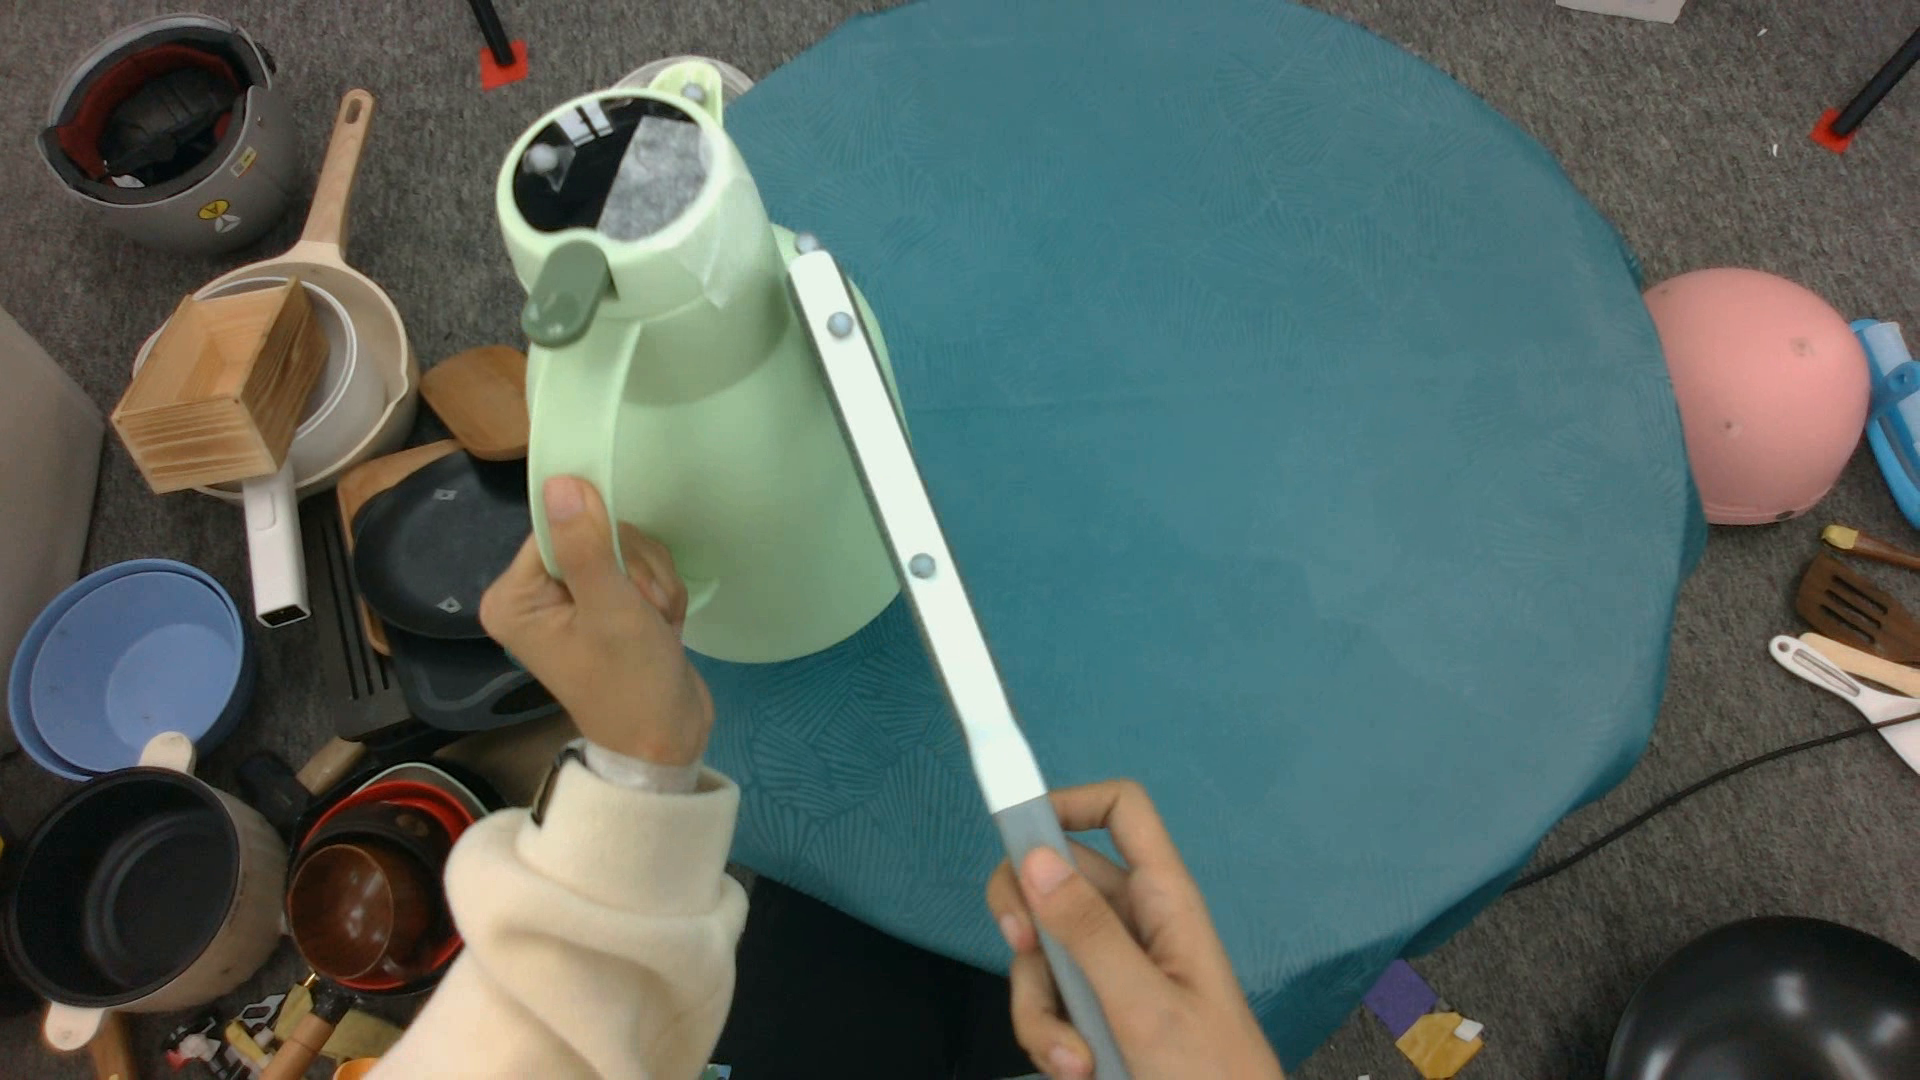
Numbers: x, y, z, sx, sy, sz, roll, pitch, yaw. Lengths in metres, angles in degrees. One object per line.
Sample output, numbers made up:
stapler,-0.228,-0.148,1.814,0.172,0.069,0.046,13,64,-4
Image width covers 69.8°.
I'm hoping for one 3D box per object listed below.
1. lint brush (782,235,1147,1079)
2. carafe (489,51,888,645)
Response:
lint brush,-0.001,0.039,0.444,0.021,0.060,0.309,-20,79,-4
carafe,-0.110,-0.052,0.542,0.144,0.256,0.187,9,68,7
